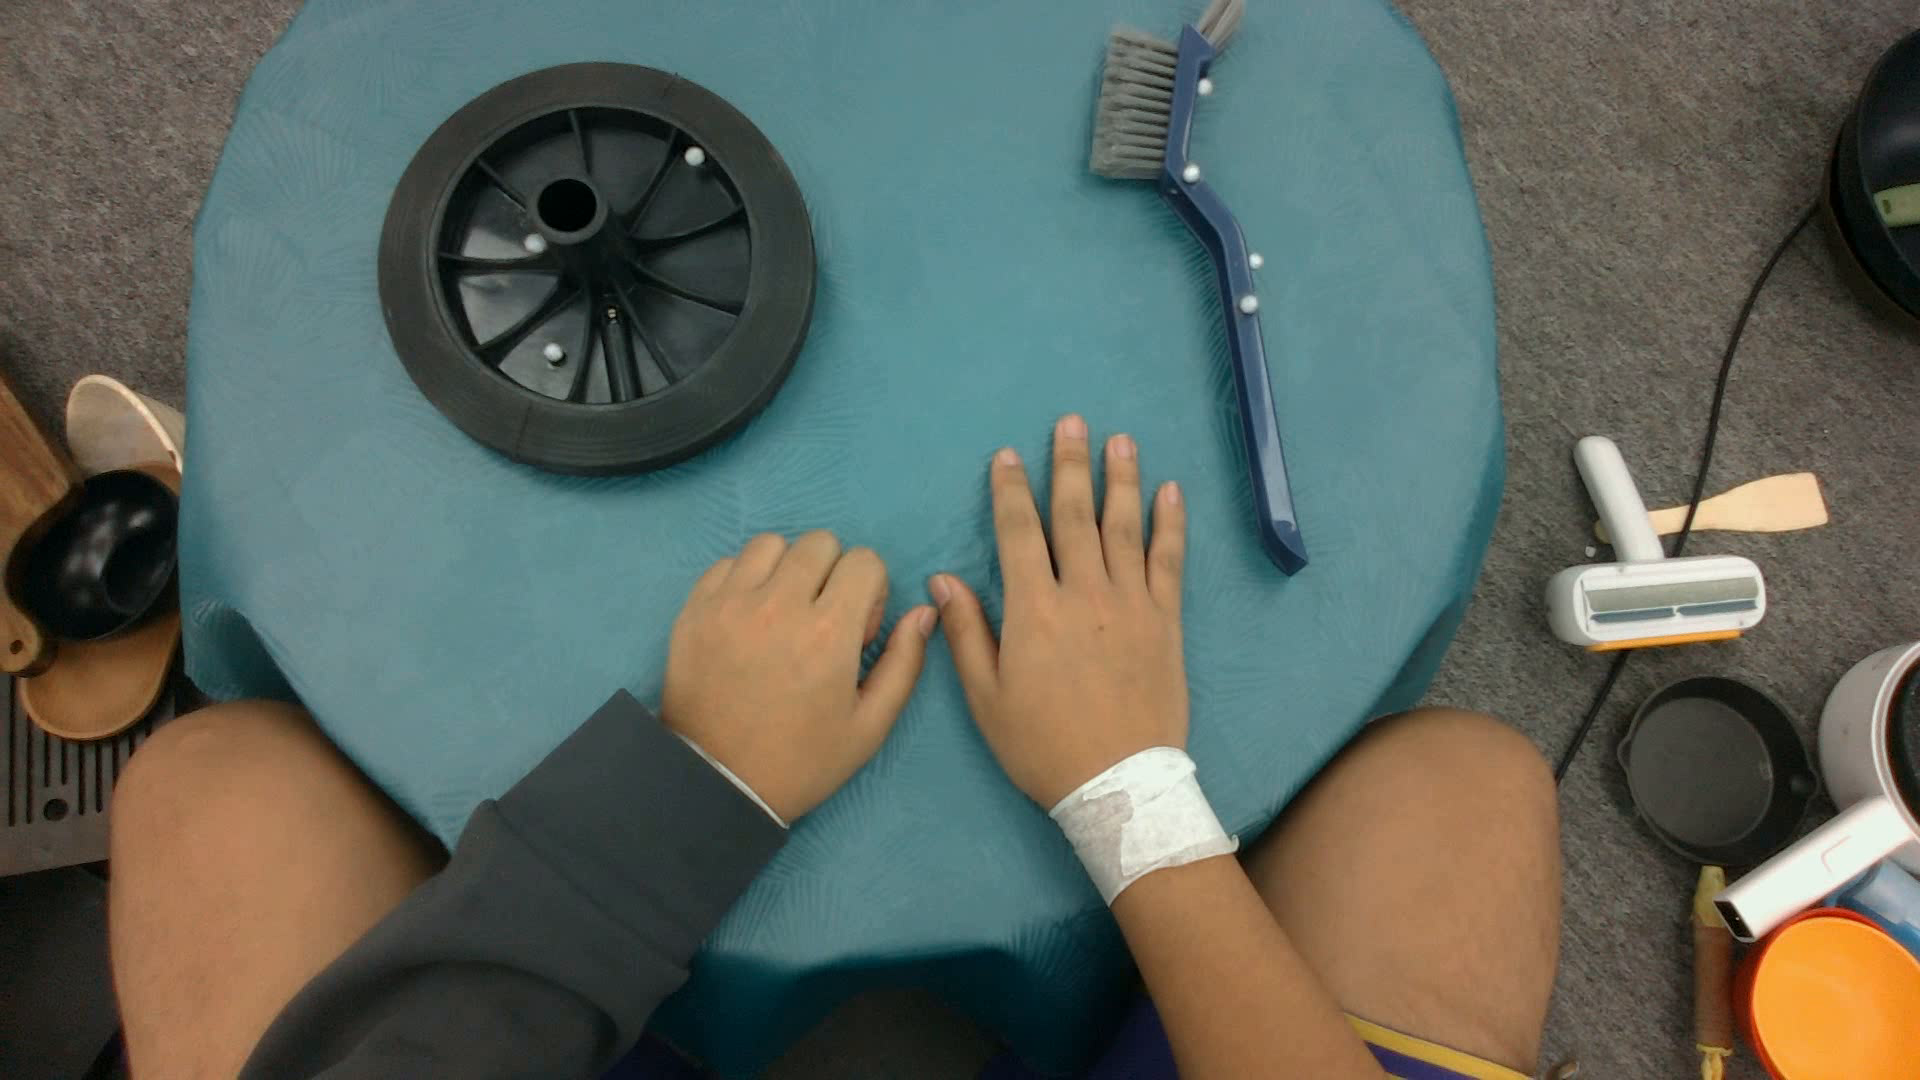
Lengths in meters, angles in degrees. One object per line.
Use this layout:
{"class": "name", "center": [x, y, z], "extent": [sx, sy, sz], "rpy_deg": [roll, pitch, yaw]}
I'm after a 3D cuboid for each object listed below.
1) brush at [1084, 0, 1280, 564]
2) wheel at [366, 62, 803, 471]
{"class": "brush", "center": [0.125, -0.126, 0.632], "extent": [0.096, 0.033, 0.273], "rpy_deg": [-15, 77, -7]}
{"class": "wheel", "center": [-0.163, -0.127, 0.592], "extent": [0.188, 0.079, 0.190], "rpy_deg": [-36, 83, -10]}
